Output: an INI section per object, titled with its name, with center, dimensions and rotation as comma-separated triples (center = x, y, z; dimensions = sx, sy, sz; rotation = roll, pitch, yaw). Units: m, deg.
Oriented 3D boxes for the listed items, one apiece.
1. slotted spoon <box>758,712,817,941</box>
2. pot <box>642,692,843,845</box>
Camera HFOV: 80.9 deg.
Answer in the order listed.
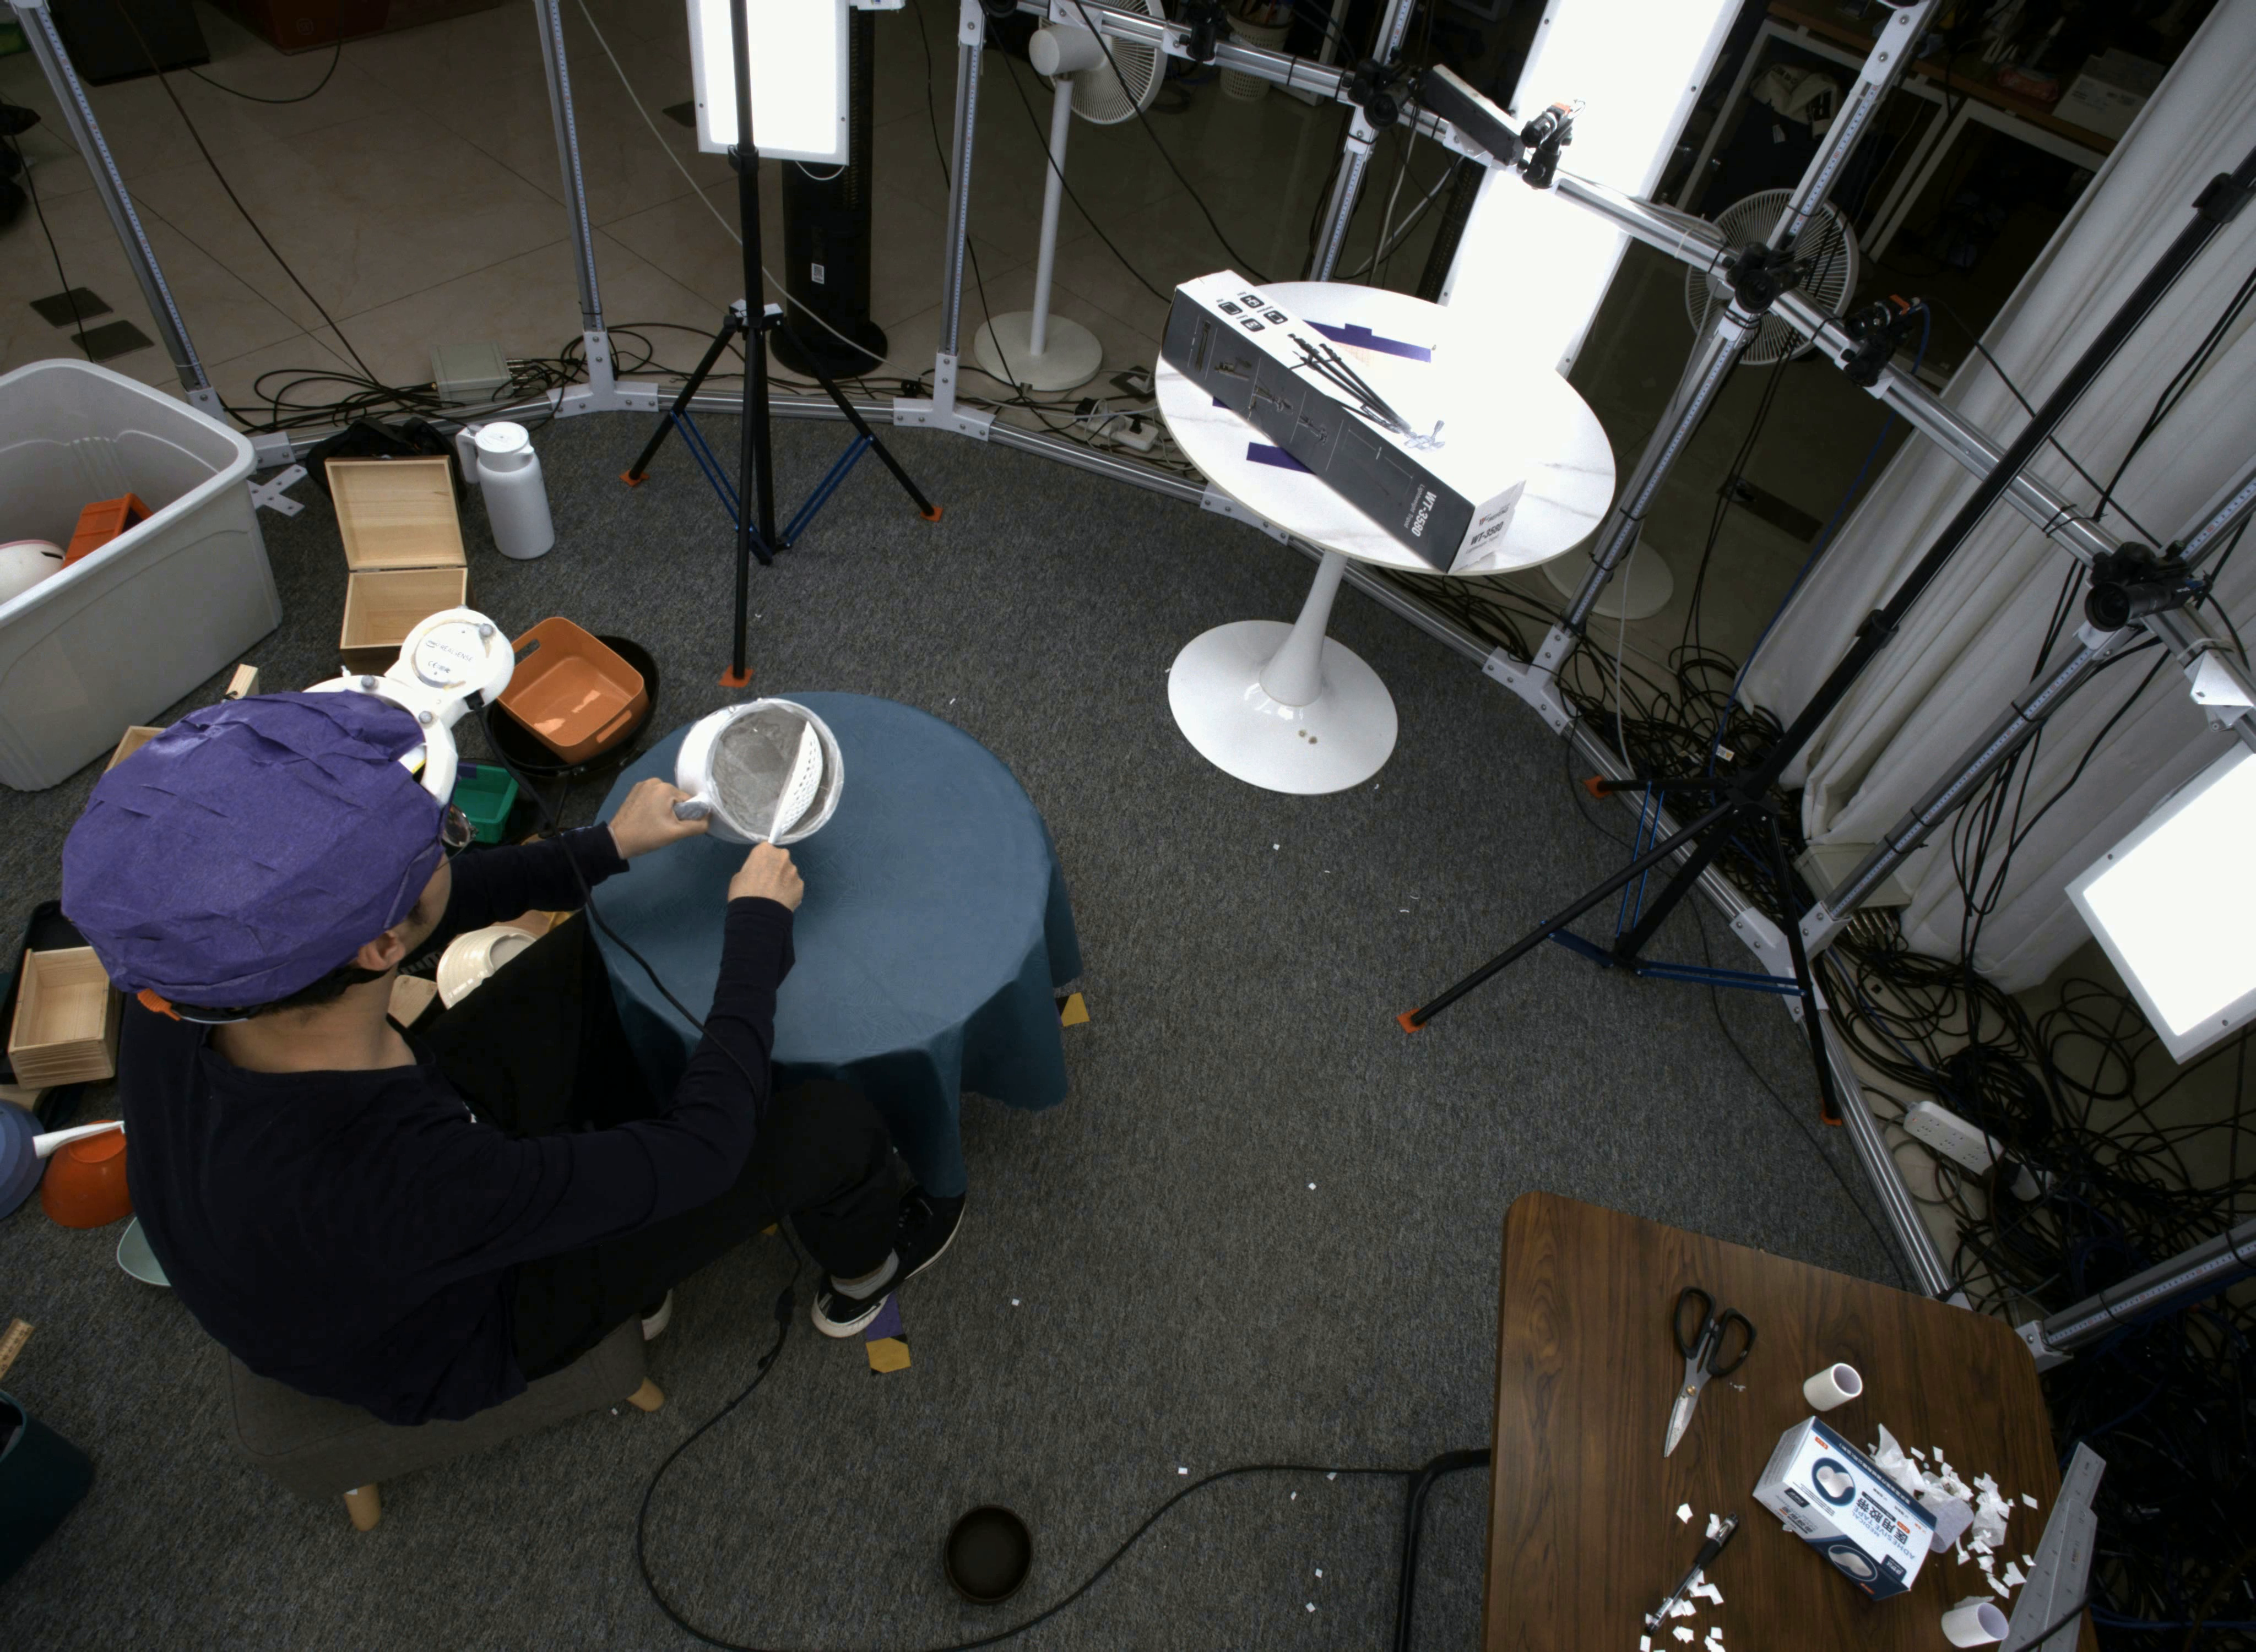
[slotted spoon]
center = -0.407, 0.005, 1.512
dimensions = 0.051, 0.138, 0.340
rotation = 21, 37, -16
[pot]
center = -0.482, -0.056, 1.594
dimensions = 0.234, 0.132, 0.183
rotation = -35, 109, -33
